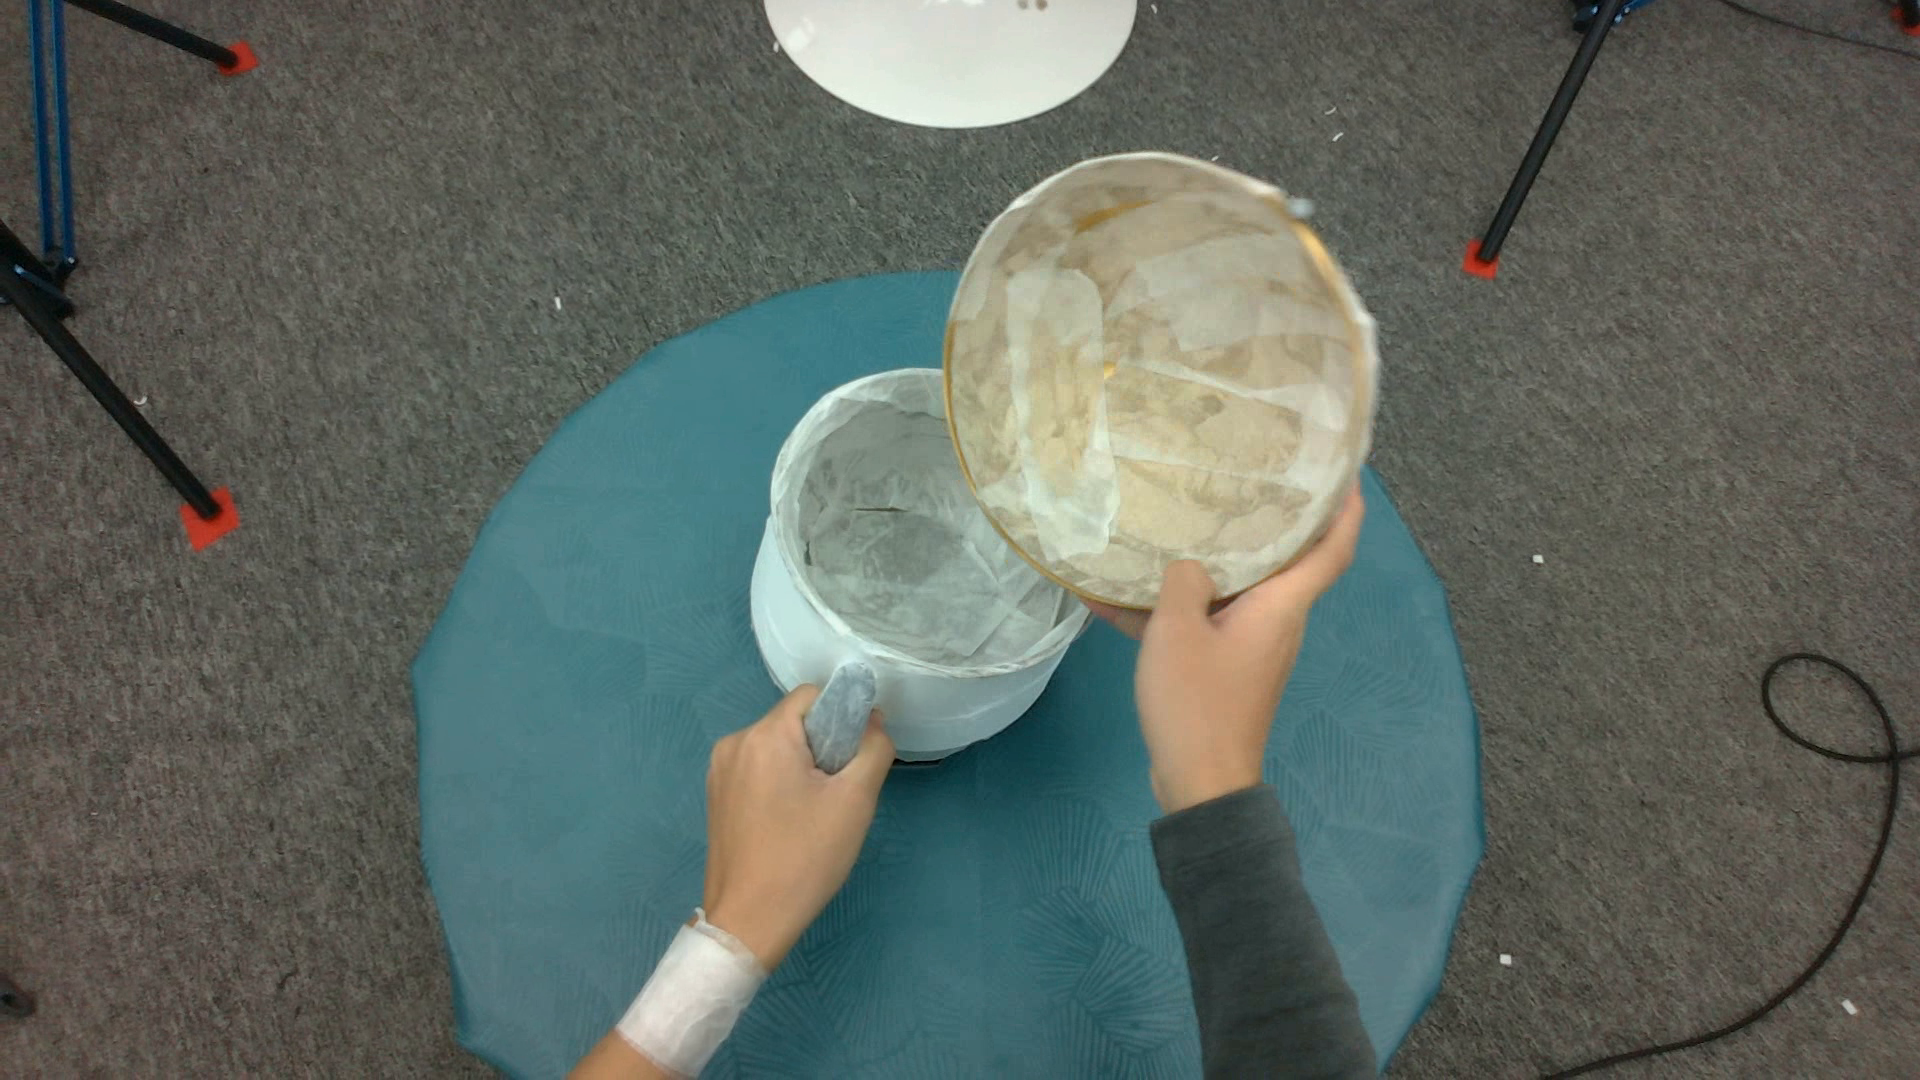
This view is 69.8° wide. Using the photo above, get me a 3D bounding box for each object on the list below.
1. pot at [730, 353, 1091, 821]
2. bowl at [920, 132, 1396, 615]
[{"bbox_3d":[-0.041,0.032,0.718,0.179,0.136,0.235,27,58,0],"label":"pot"},{"bbox_3d":[0.098,-0.076,0.645,0.214,0.095,0.214,2,97,20],"label":"bowl"}]
